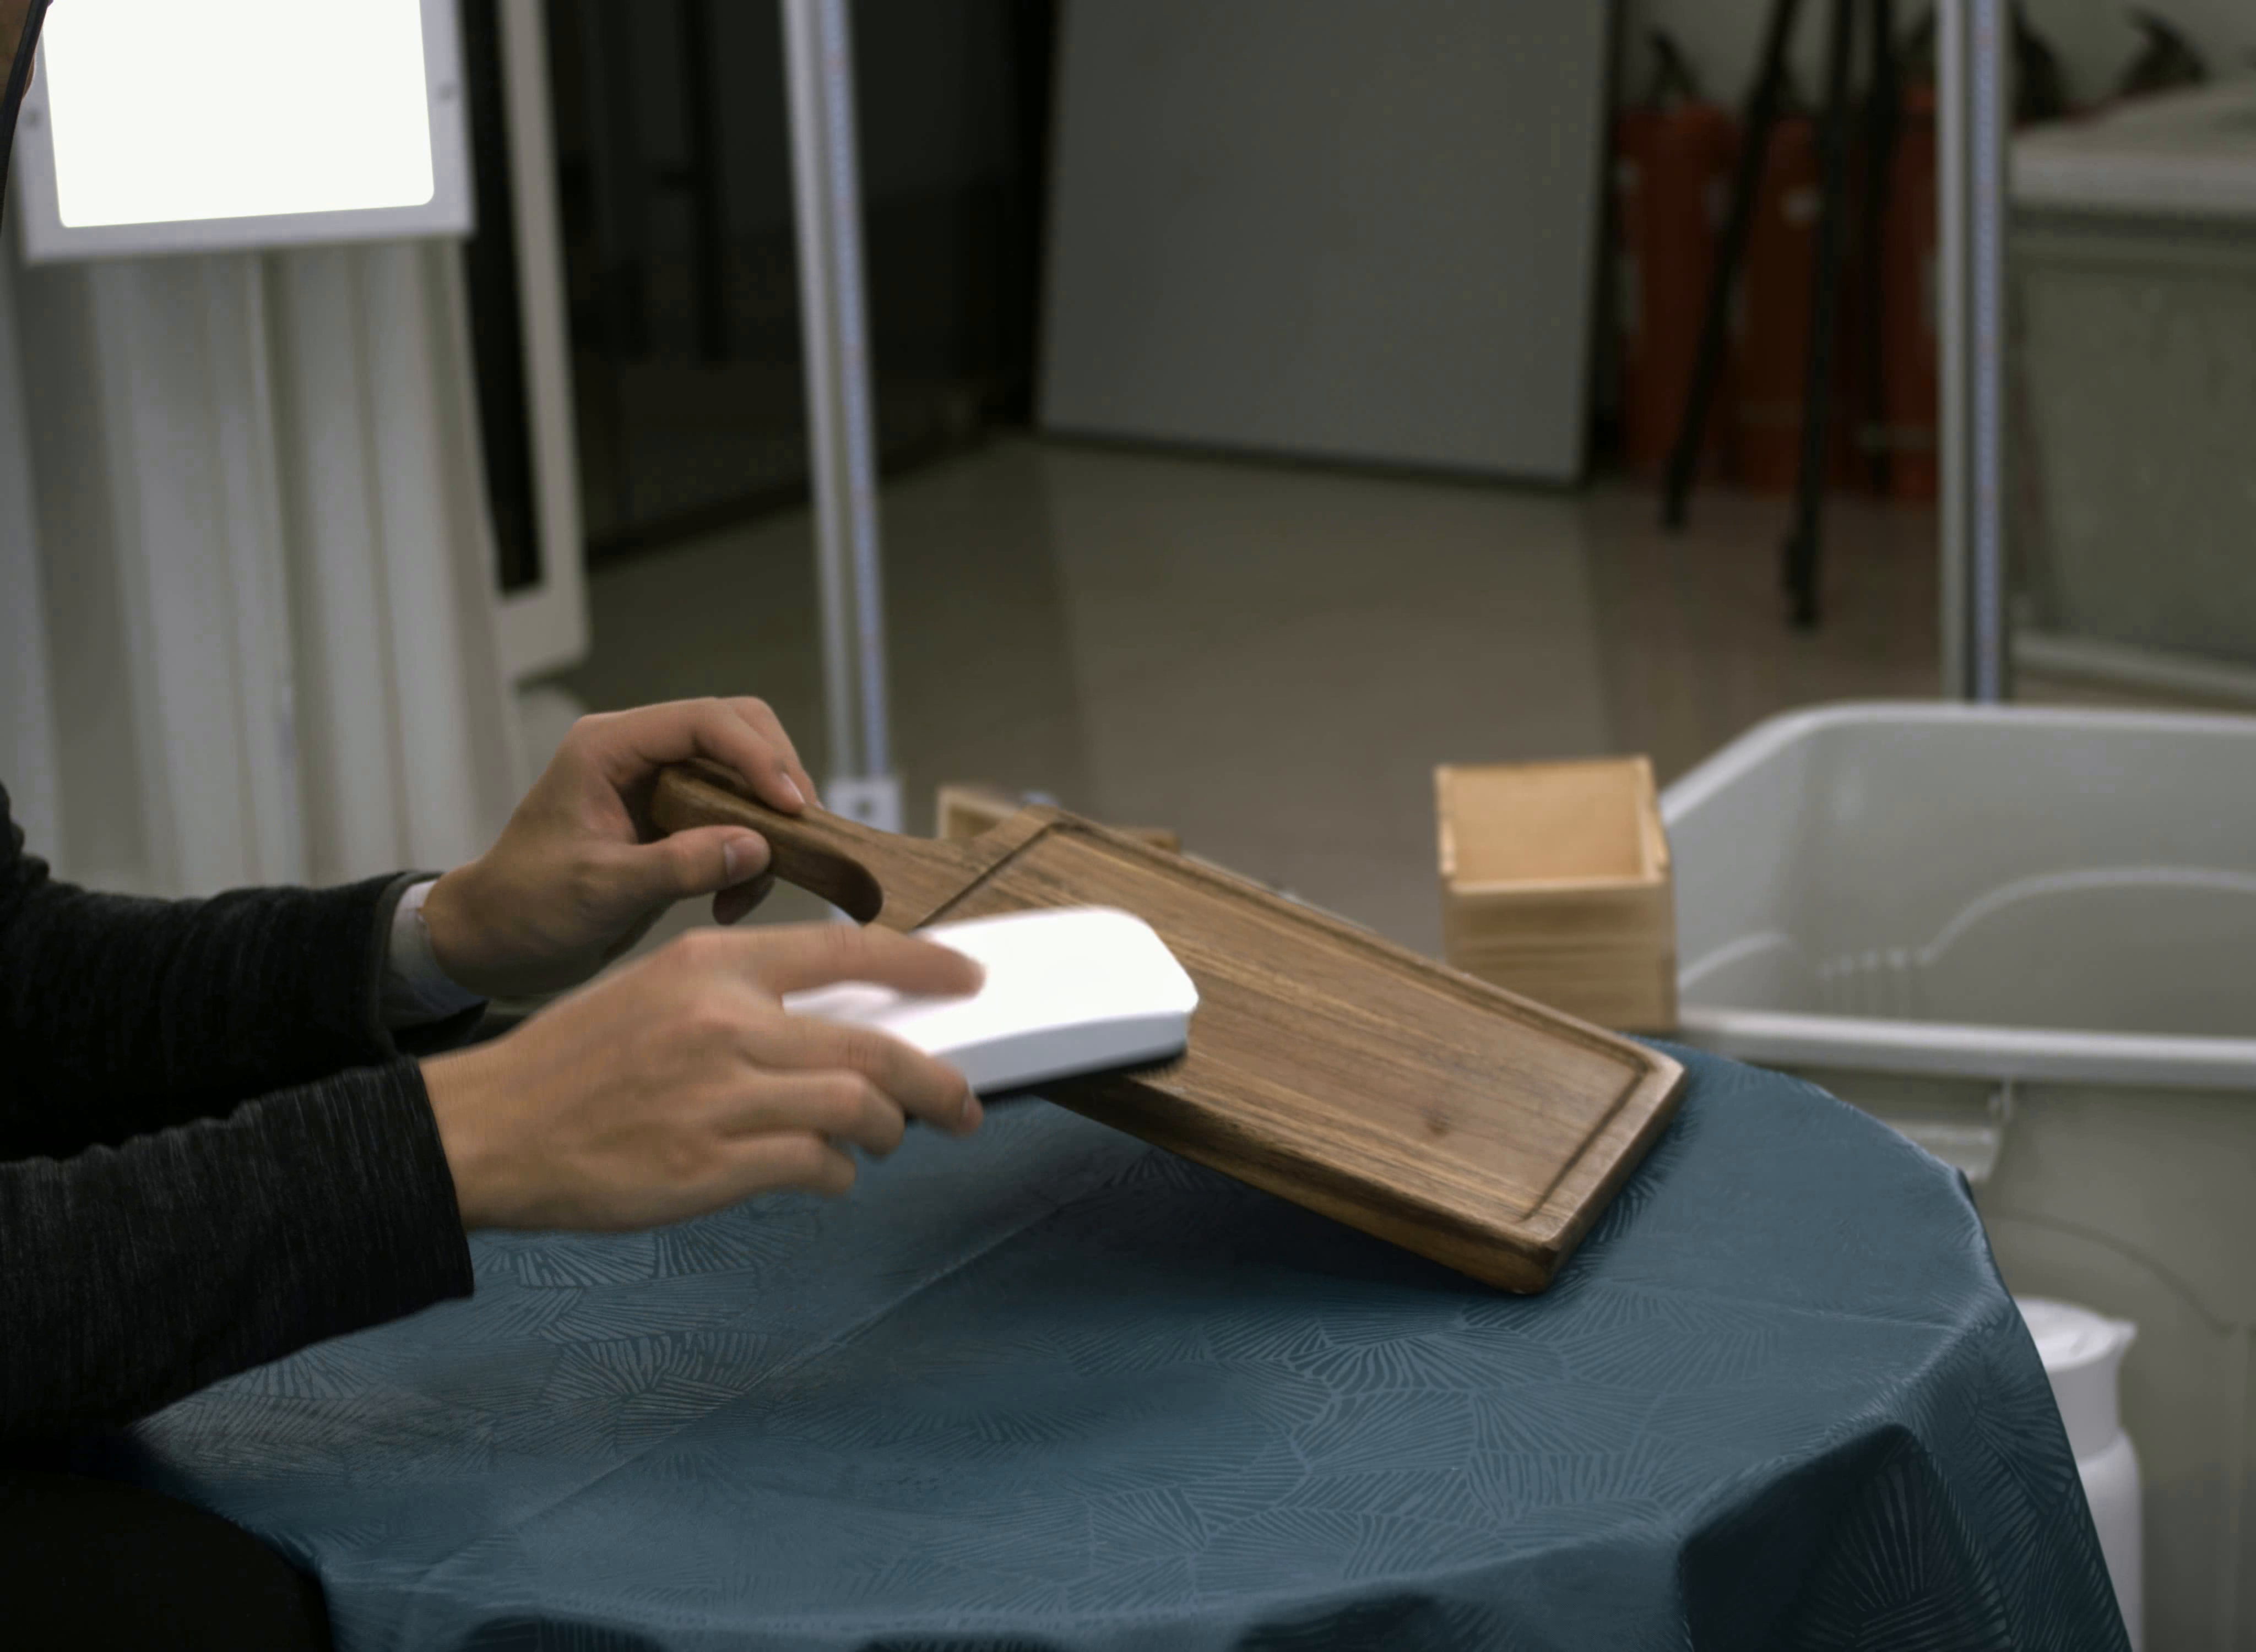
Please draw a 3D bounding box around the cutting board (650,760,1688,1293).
[{"bbox_3d":[0.003,0.050,1.765,0.351,0.023,0.199,21,21,14],"label":"cutting board"}]

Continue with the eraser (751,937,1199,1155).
[{"bbox_3d":[-0.046,0.062,1.609,0.128,0.035,0.064,-8,31,-17],"label":"eraser"}]
